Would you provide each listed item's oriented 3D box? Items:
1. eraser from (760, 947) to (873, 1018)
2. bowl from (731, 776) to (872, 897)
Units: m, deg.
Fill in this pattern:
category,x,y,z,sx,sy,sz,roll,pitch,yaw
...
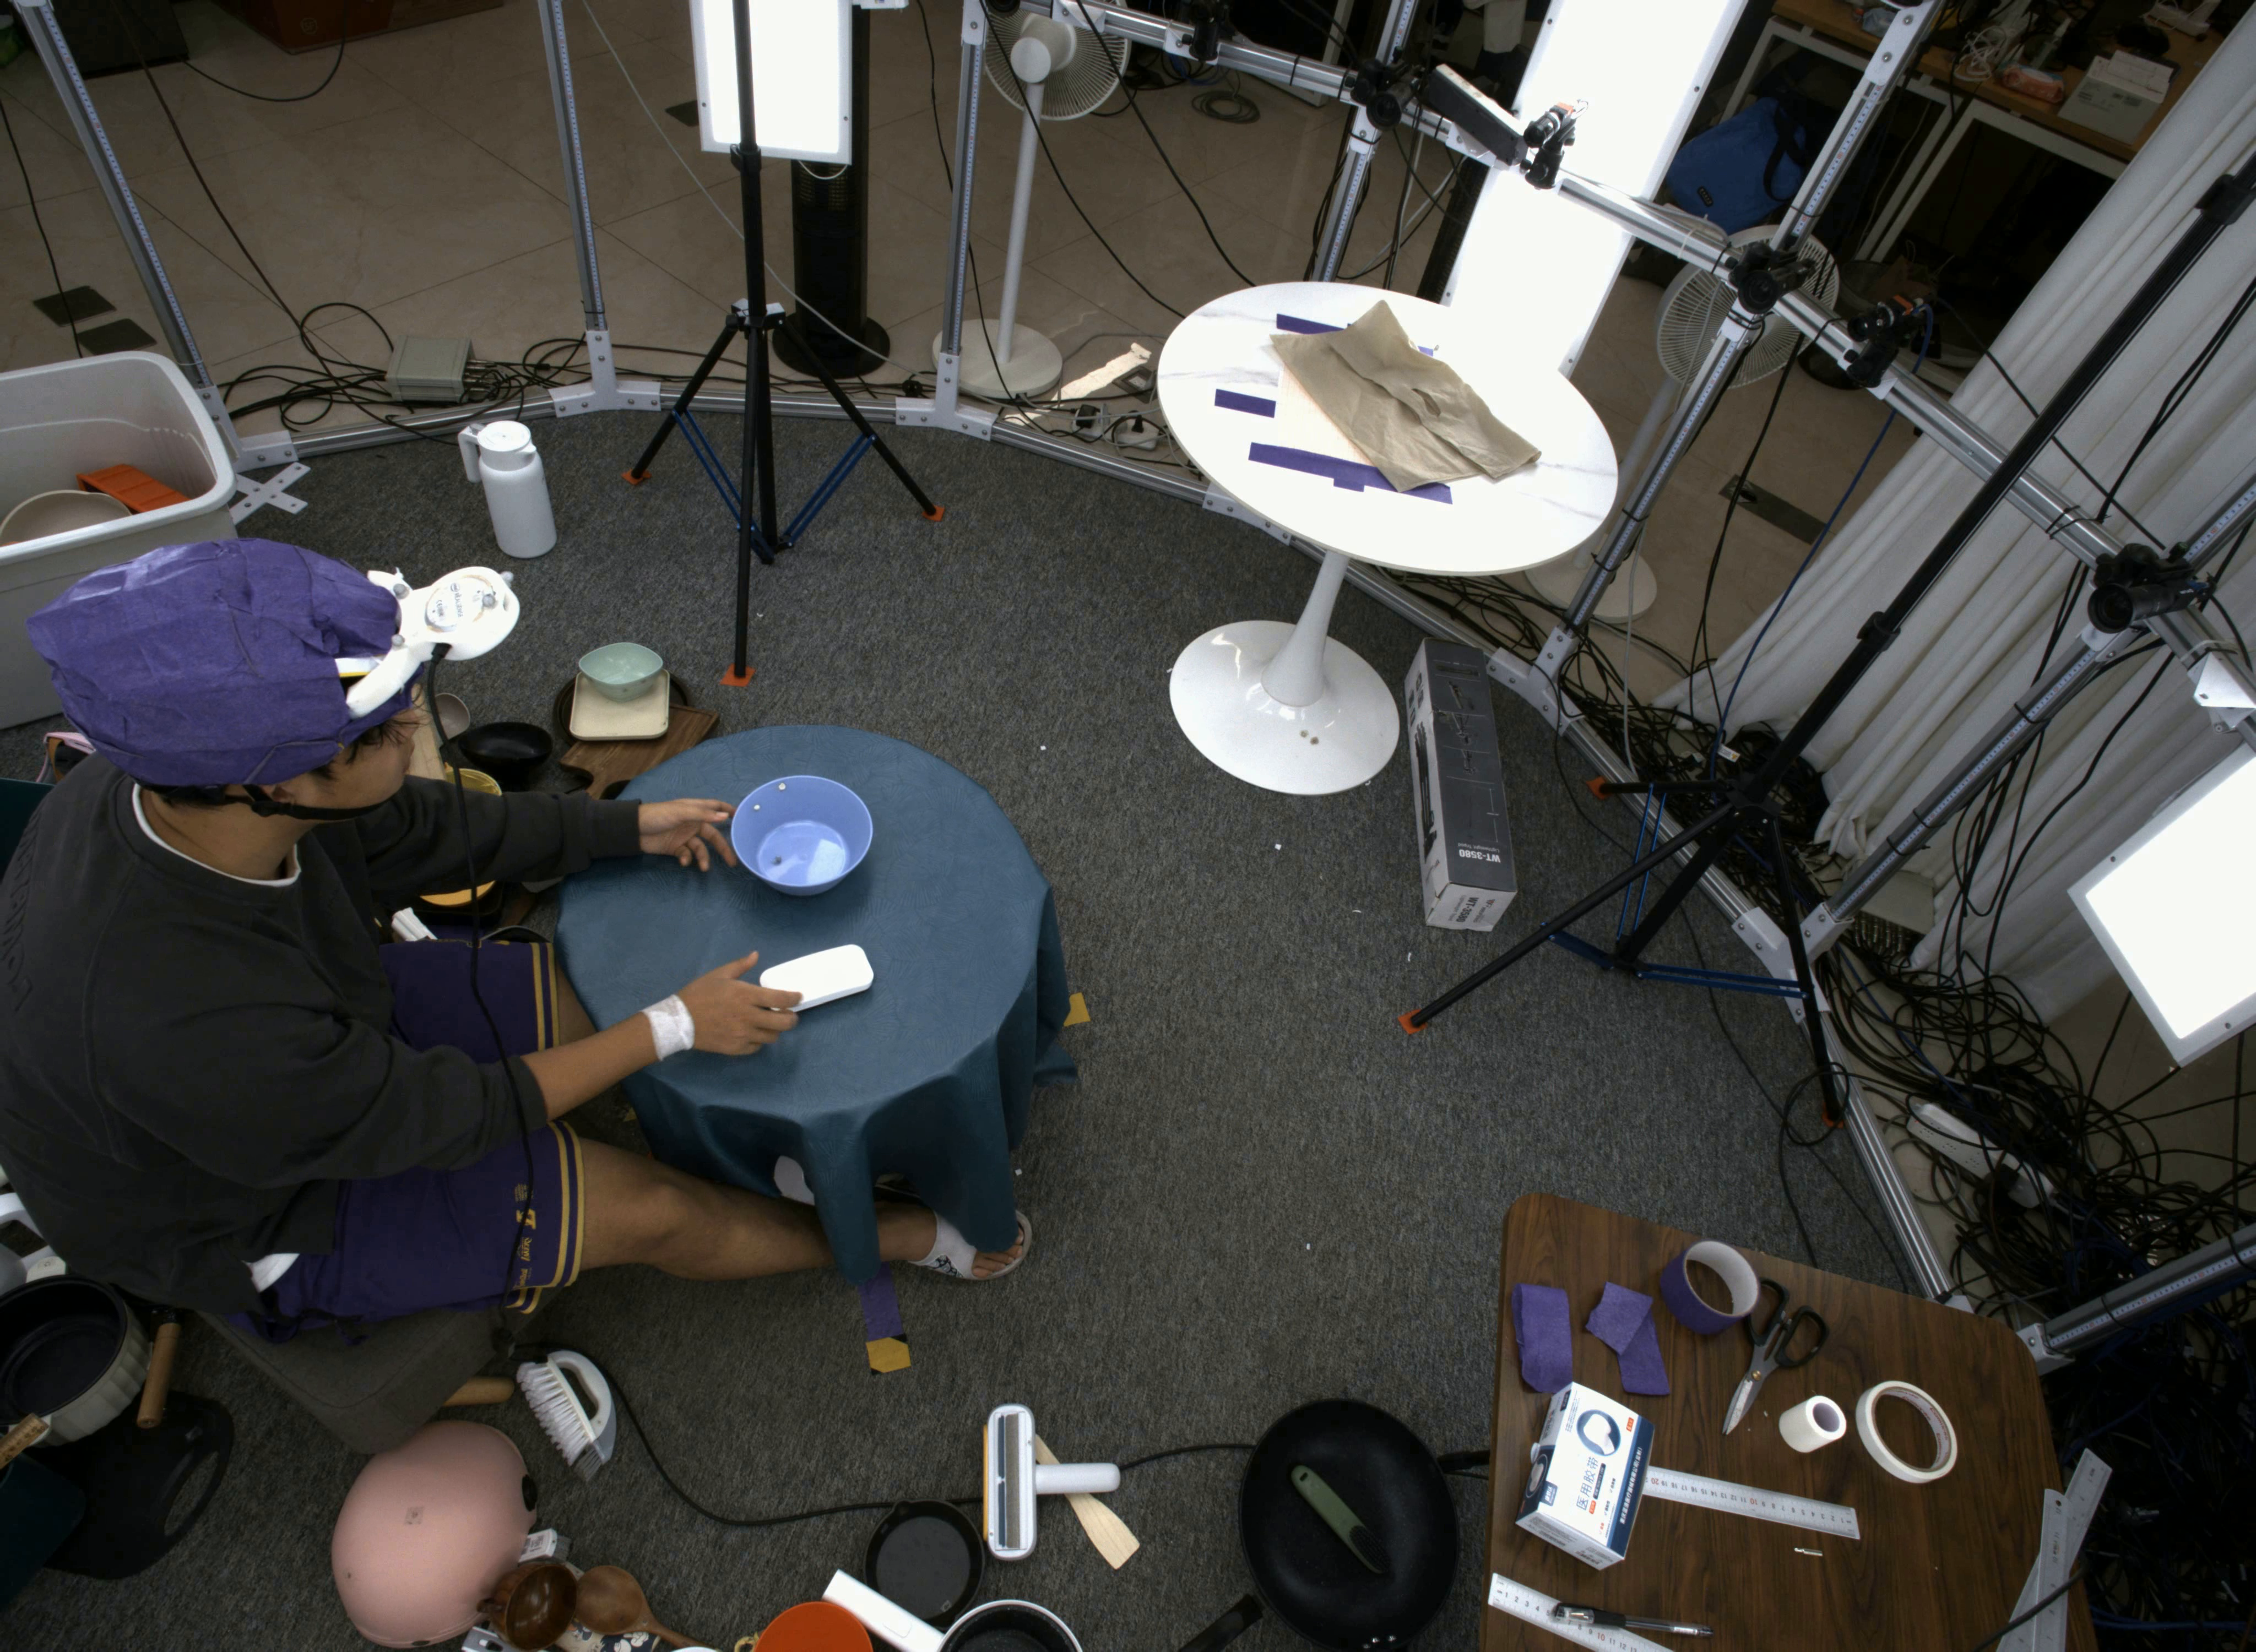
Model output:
category,x,y,z,sx,sy,sz,roll,pitch,yaw
eraser,-0.380,0.186,1.581,0.132,0.035,0.062,-14,56,-25
bowl,-0.418,0.023,1.667,0.175,0.072,0.173,8,51,-8
